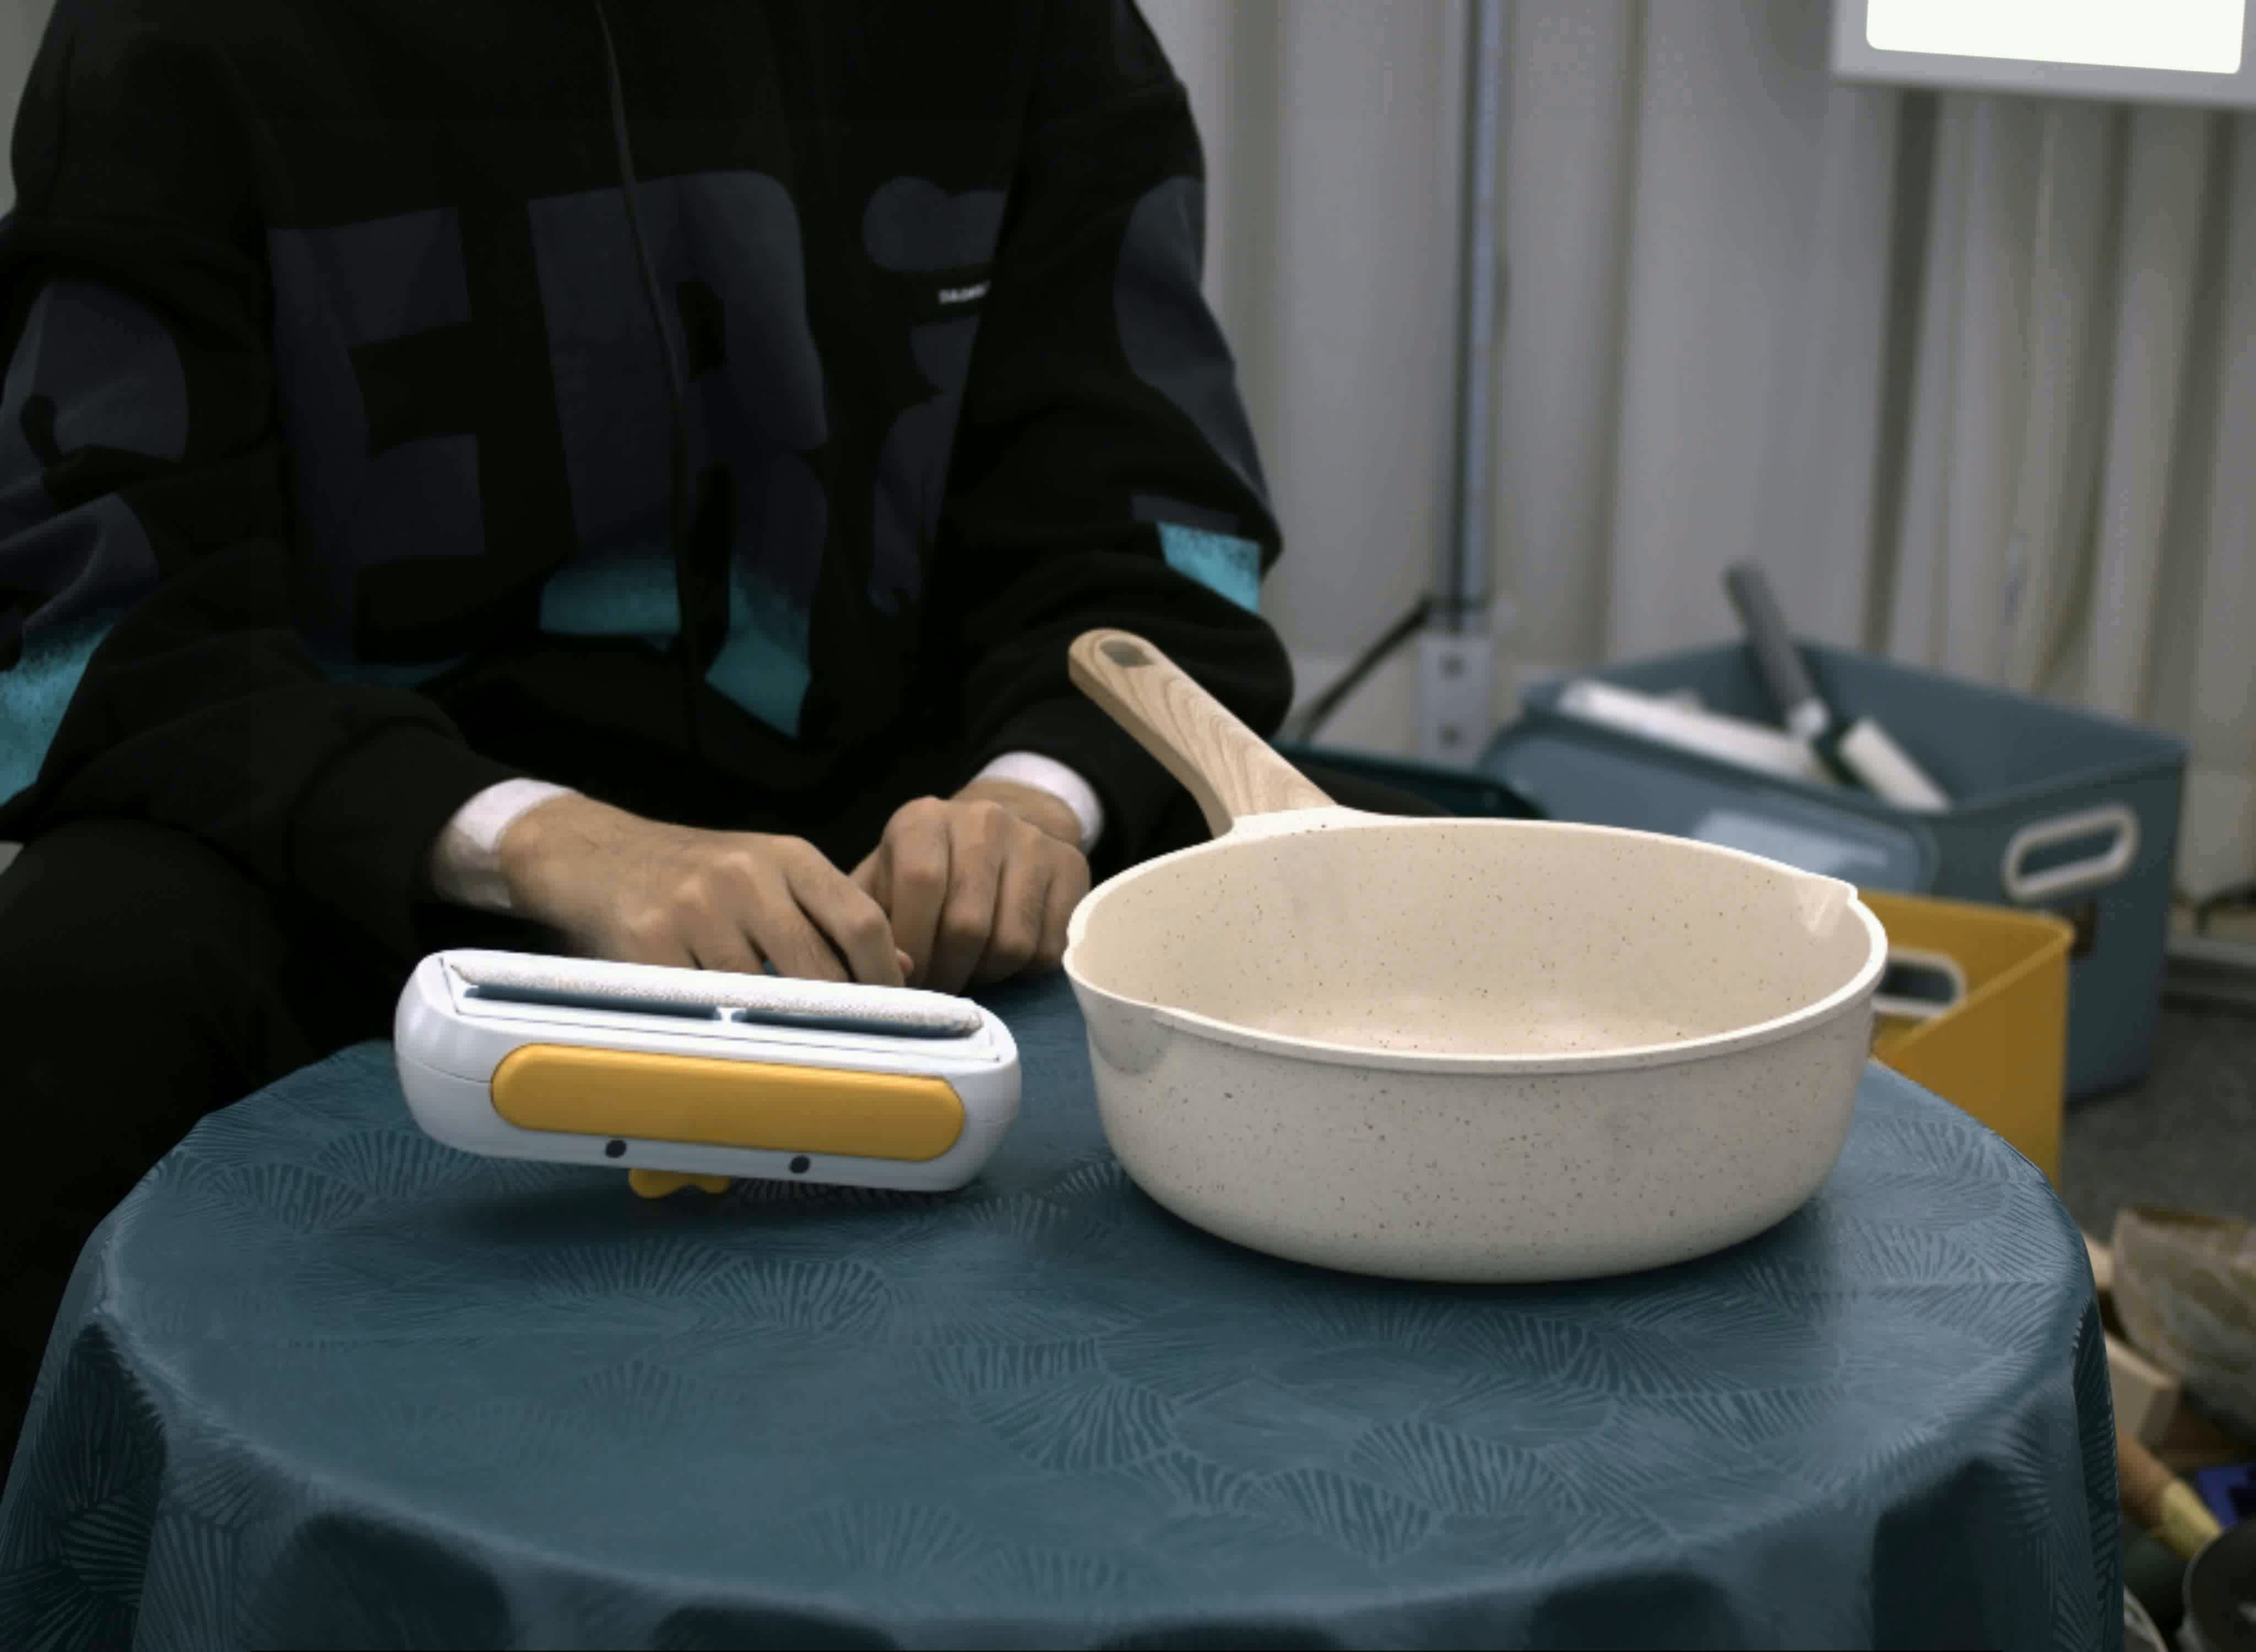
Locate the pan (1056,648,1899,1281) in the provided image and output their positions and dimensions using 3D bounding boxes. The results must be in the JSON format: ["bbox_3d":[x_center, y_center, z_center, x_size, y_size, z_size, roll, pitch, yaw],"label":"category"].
[{"bbox_3d":[0.075,0.039,1.700,0.264,0.103,0.430,-9,18,-22],"label":"pan"}]

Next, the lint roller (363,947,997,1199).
[{"bbox_3d":[-0.147,0.067,1.652,0.193,0.075,0.191,2,13,-13],"label":"lint roller"}]
